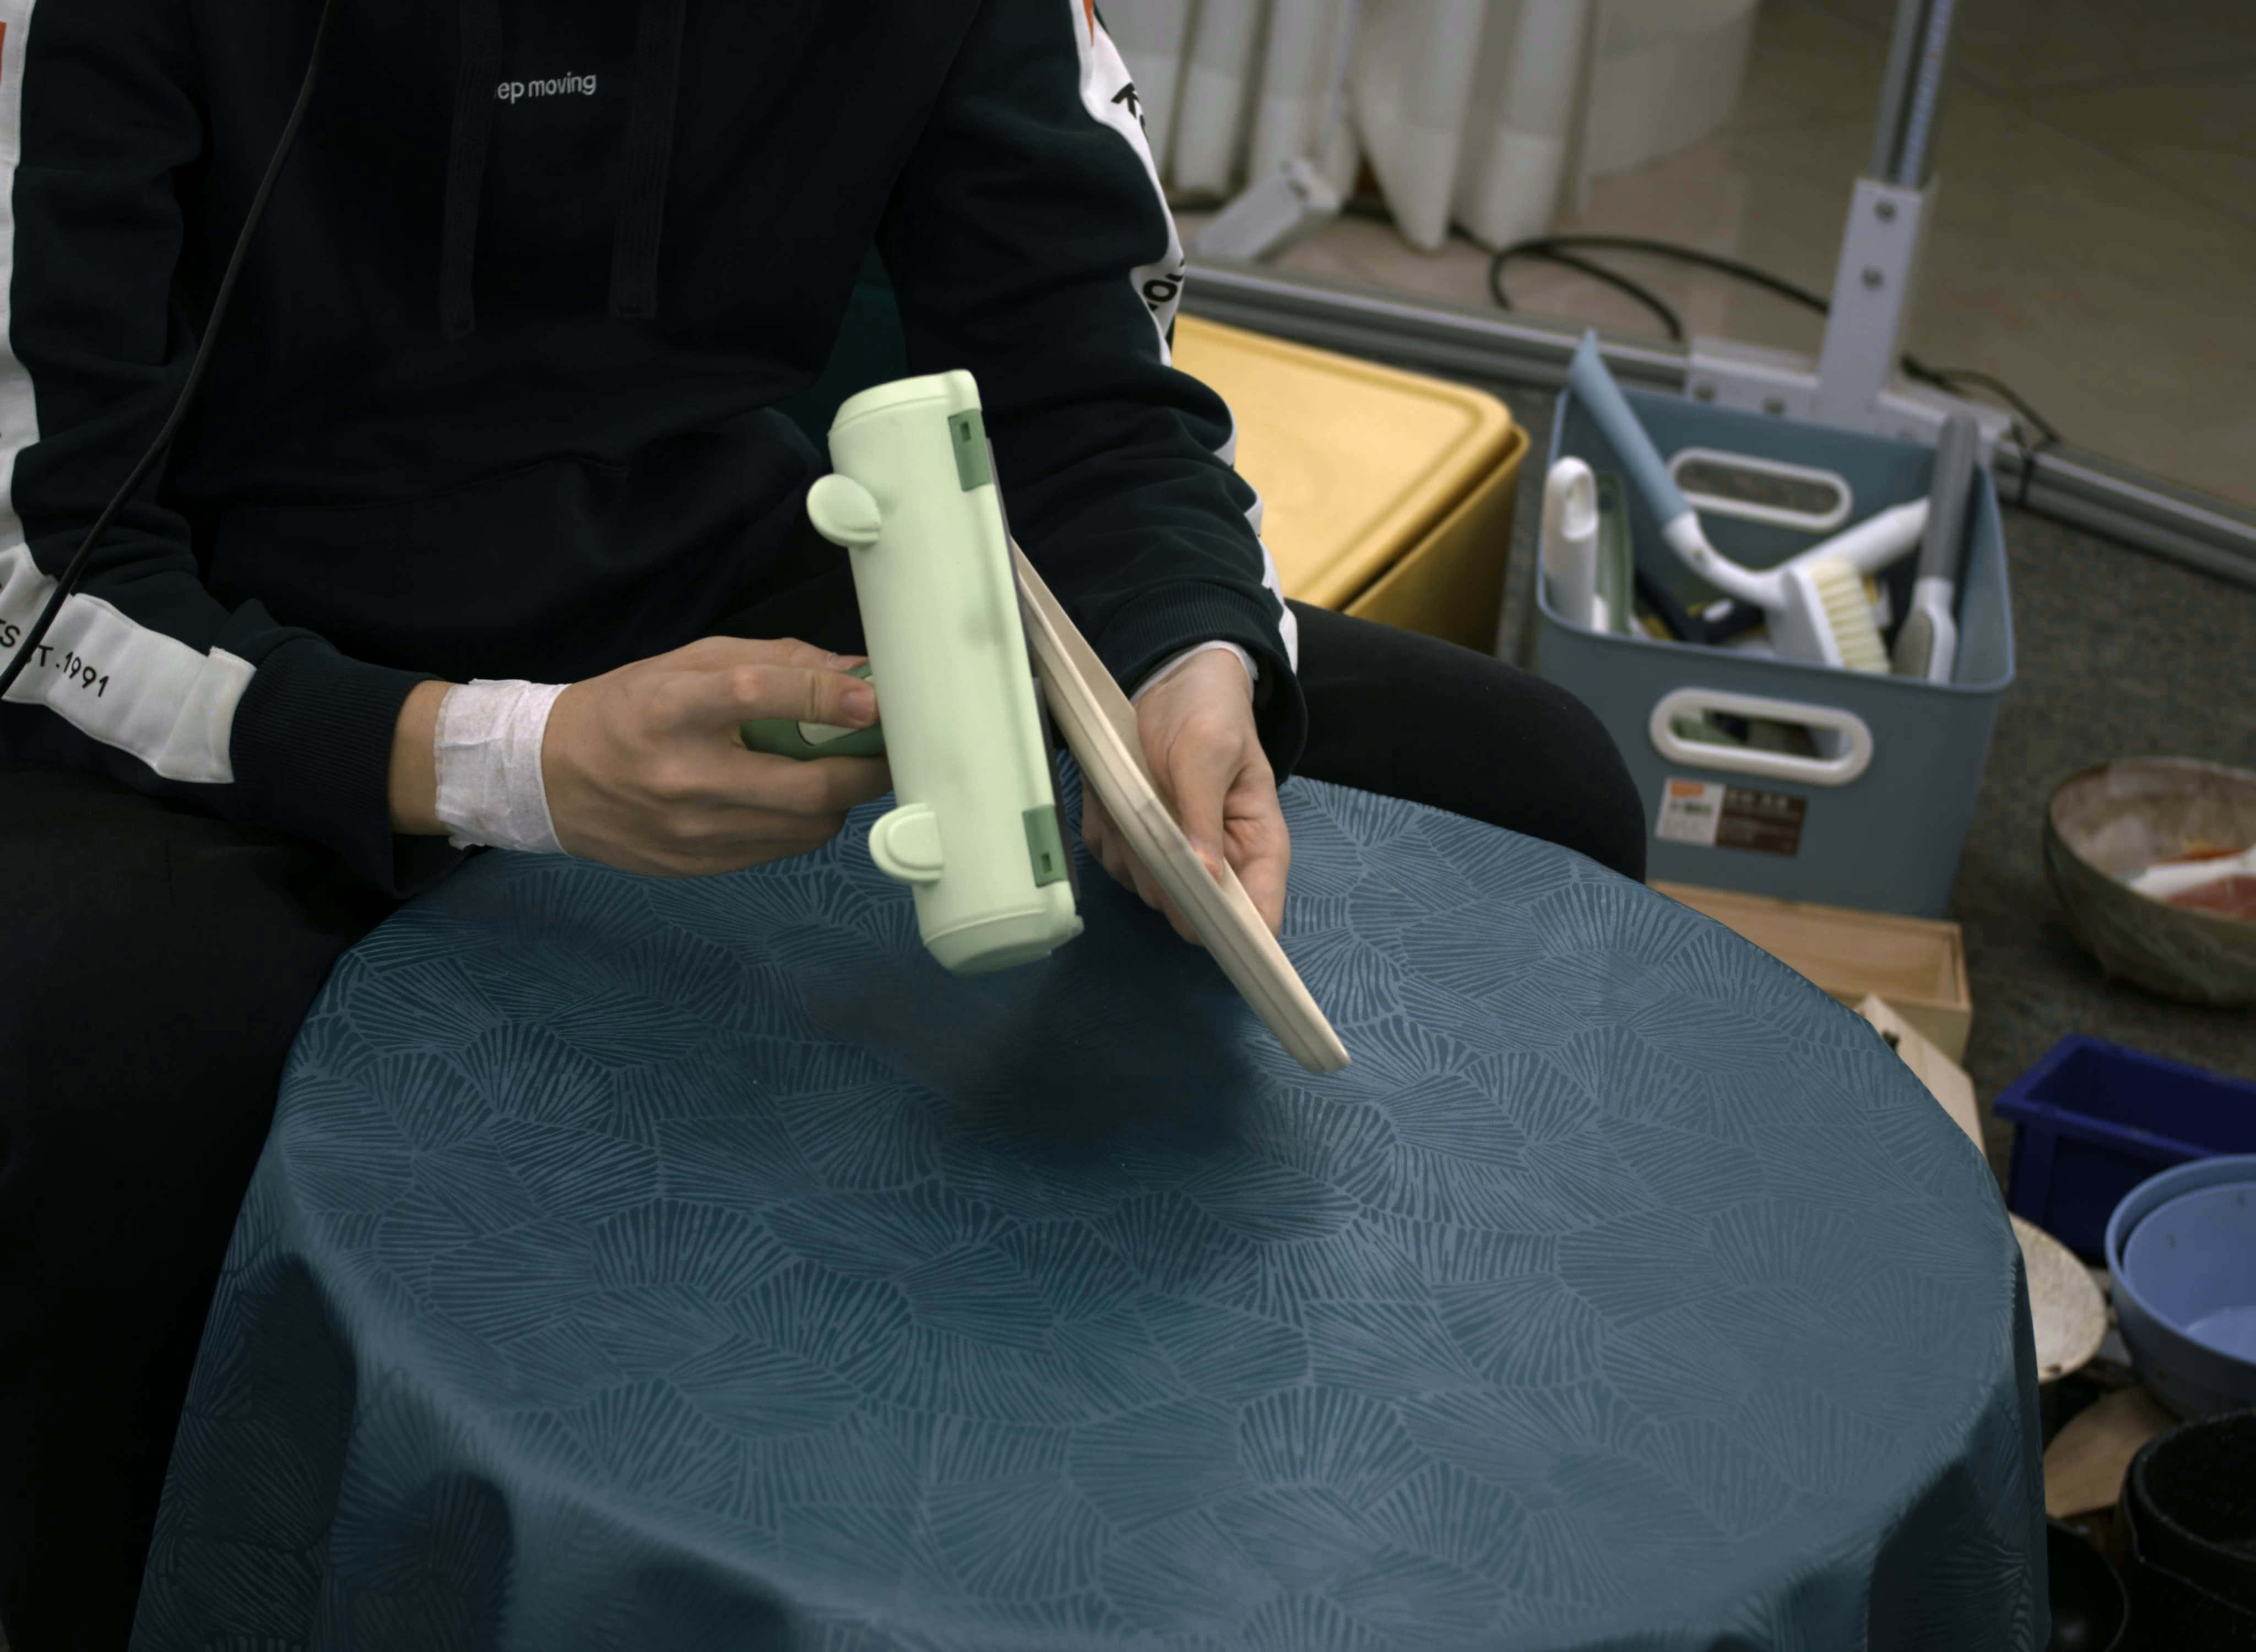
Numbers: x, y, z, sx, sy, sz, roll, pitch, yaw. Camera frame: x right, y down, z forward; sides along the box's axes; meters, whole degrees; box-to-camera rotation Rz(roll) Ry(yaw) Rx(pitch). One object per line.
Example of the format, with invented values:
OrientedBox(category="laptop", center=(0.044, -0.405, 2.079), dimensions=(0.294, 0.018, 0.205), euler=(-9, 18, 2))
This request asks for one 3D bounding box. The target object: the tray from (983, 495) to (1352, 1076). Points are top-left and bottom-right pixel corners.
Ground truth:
OrientedBox(category="tray", center=(0.000, -0.021, 1.859), dimensions=(0.017, 0.170, 0.242), euler=(-34, 40, 2))

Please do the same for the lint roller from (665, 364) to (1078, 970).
OrientedBox(category="lint roller", center=(-0.106, -0.038, 1.795), dimensions=(0.183, 0.199, 0.081), euler=(-18, -13, 34))
